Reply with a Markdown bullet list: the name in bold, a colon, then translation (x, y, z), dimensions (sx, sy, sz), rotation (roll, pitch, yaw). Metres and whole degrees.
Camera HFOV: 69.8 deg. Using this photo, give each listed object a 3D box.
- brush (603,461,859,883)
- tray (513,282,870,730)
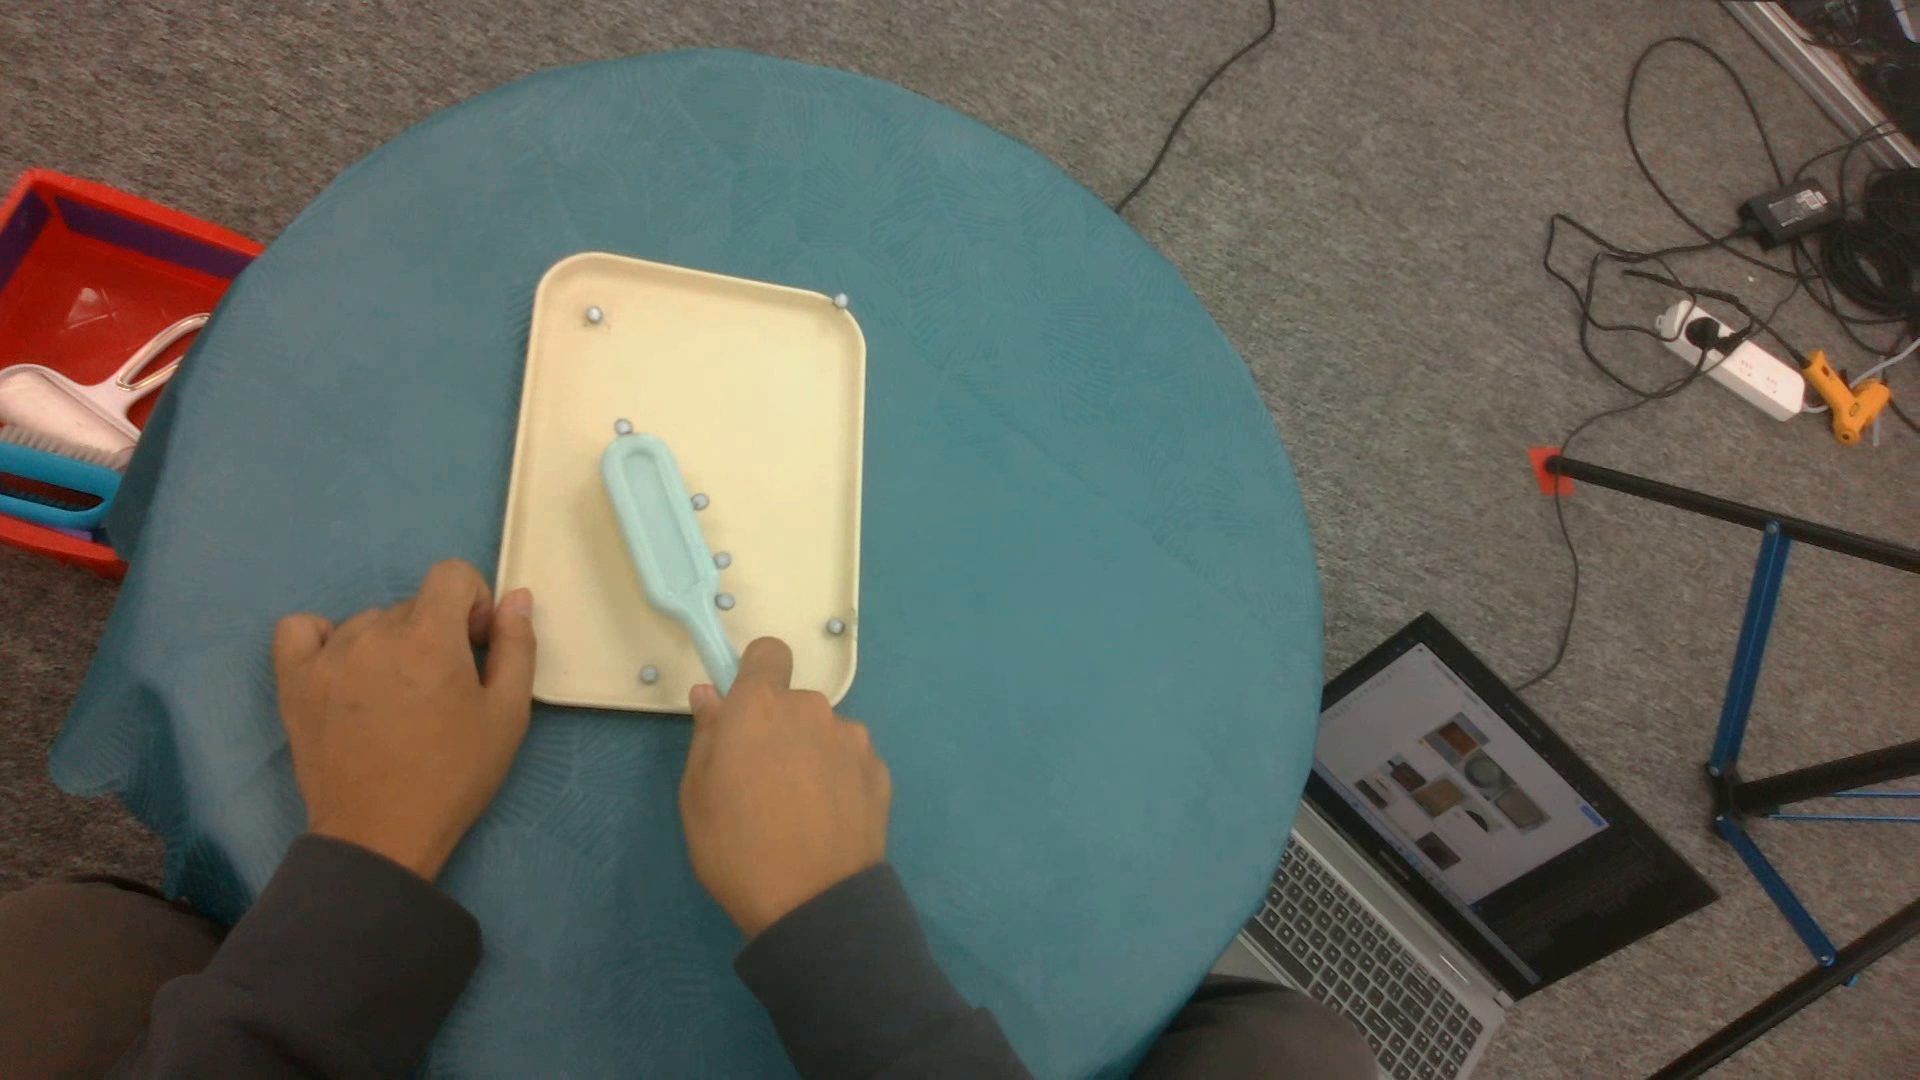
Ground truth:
- **brush**: translation (-0.108, 0.059, 0.642), dimensions (0.038, 0.049, 0.229), rotation (-24, 63, -22)
- **tray**: translation (-0.132, -0.020, 0.701), dimensions (0.171, 0.017, 0.240), rotation (4, 66, -16)
